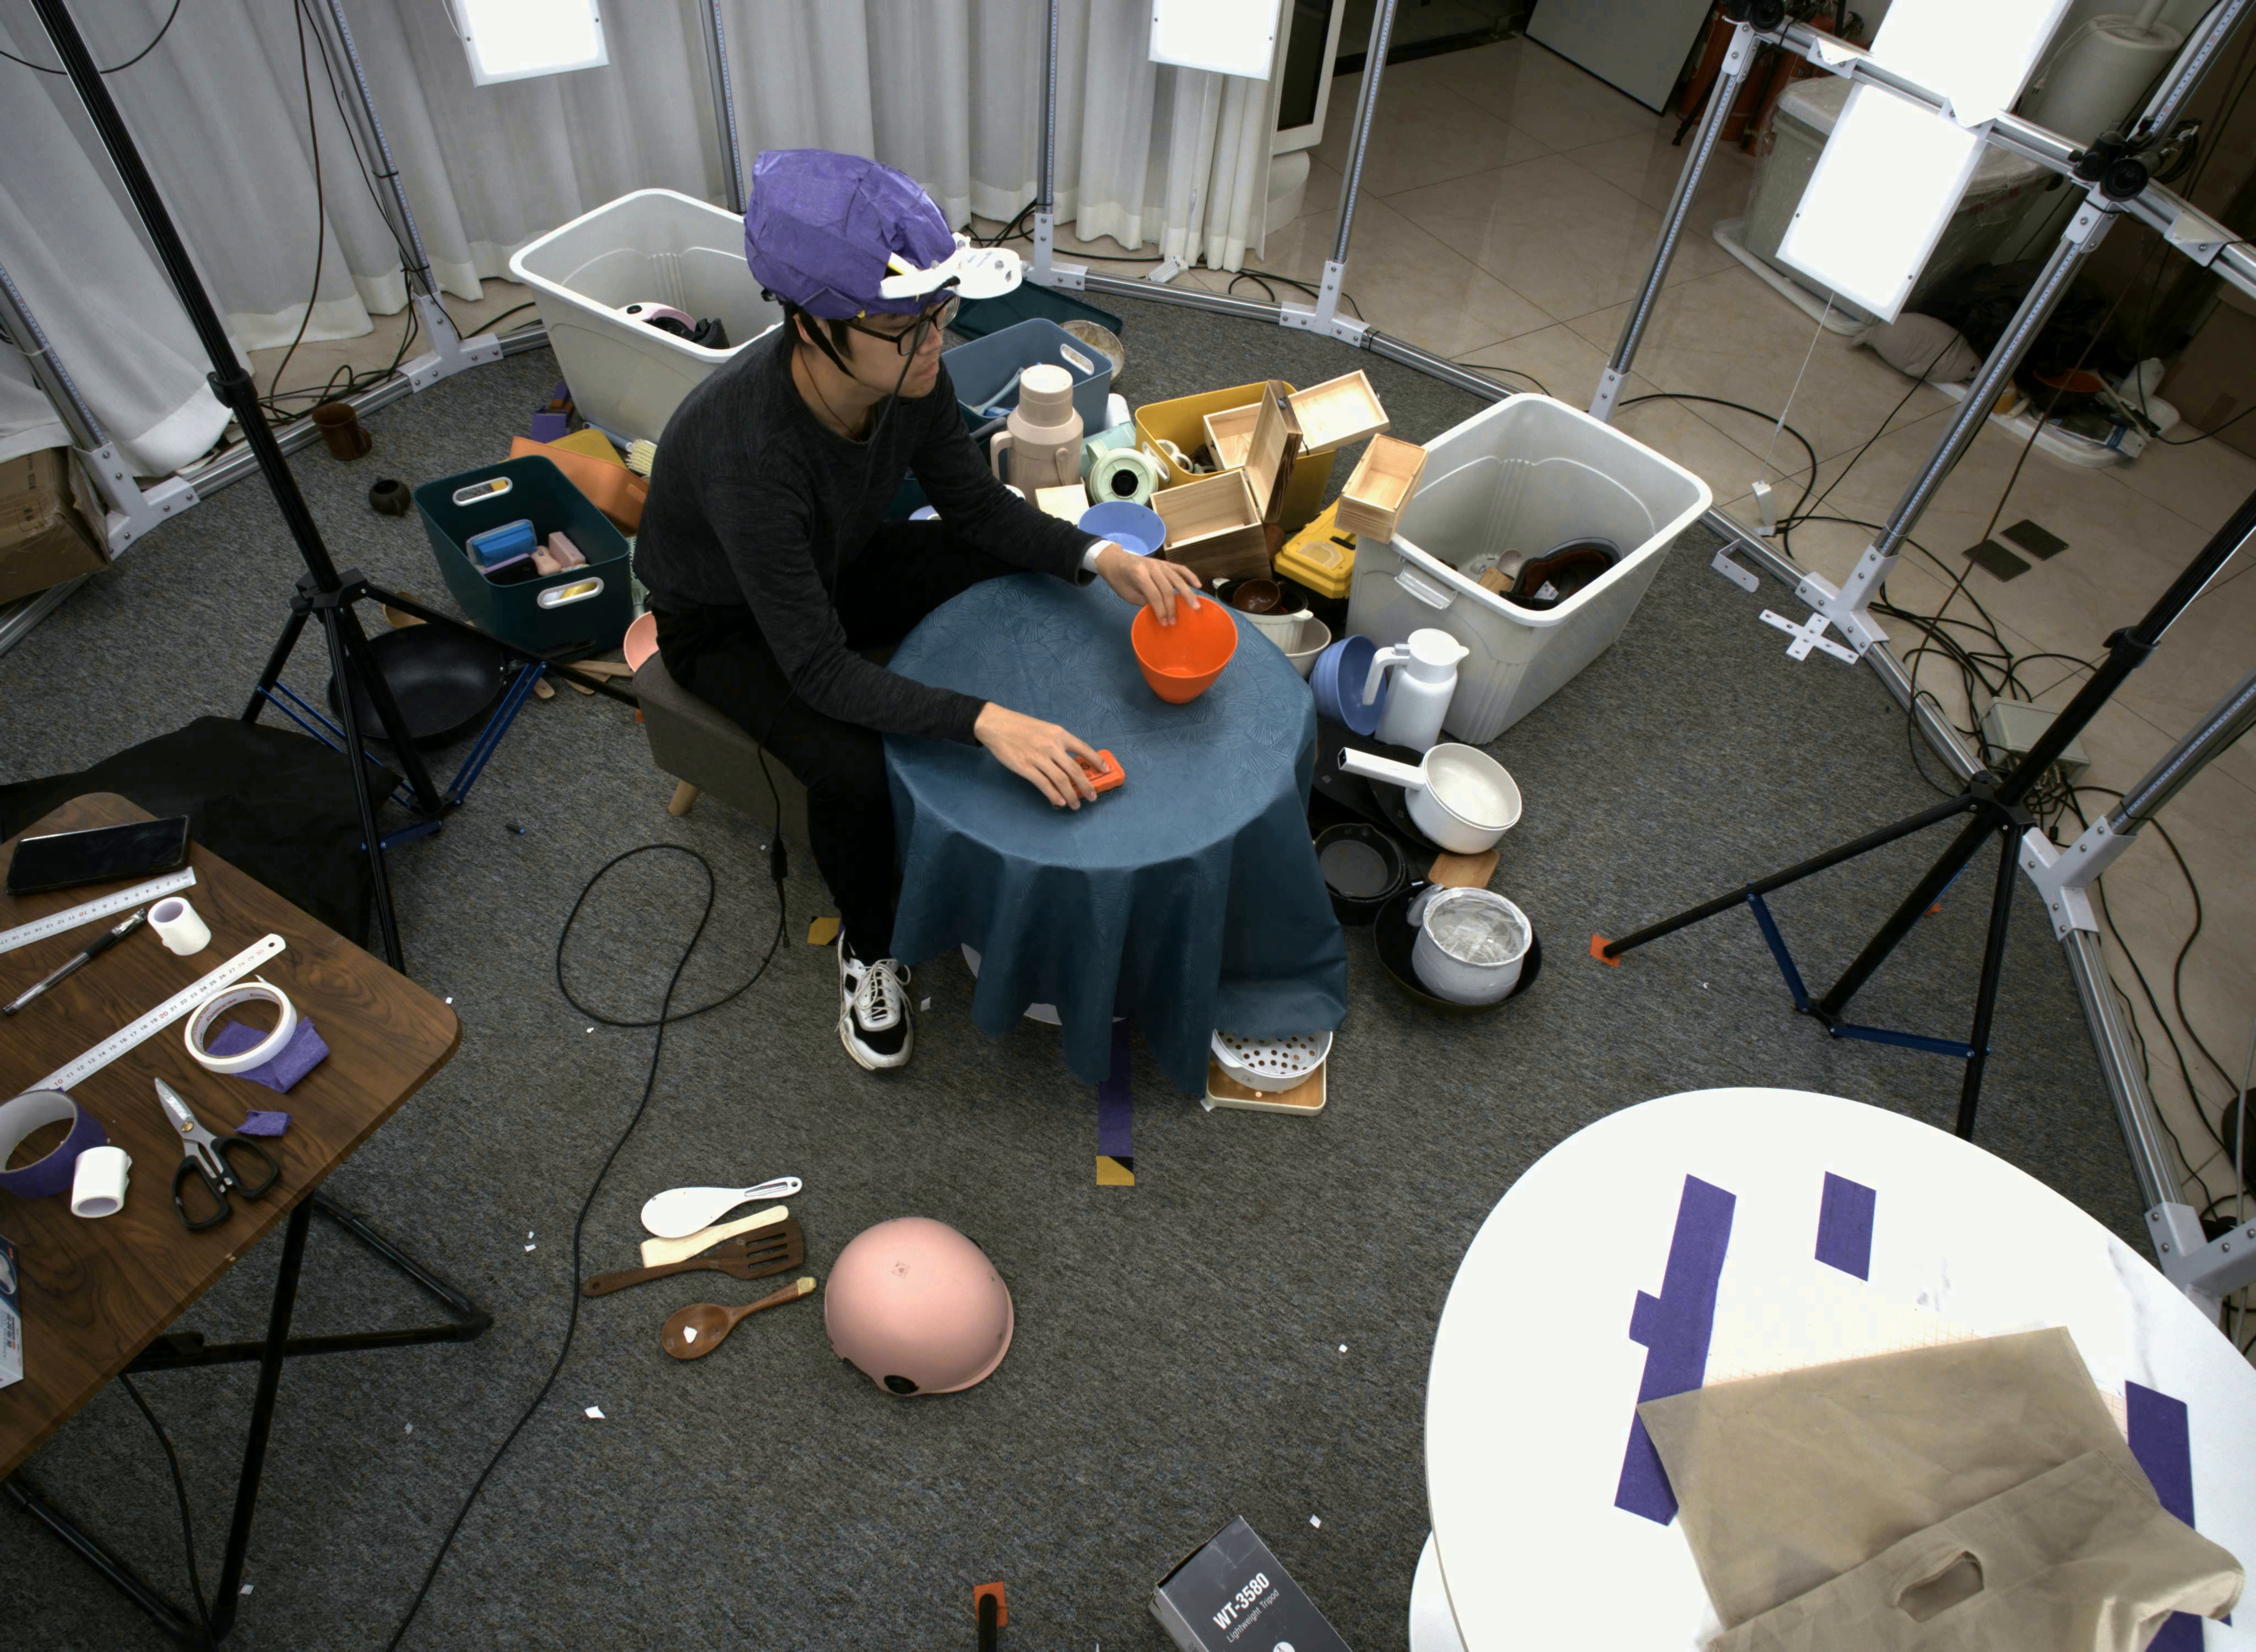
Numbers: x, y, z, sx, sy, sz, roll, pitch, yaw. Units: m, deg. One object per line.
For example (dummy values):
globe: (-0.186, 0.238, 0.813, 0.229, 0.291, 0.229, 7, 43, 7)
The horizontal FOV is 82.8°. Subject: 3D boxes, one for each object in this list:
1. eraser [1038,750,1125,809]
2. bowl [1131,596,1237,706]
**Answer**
eraser: (-0.062, -0.062, 1.699, 0.108, 0.022, 0.060, -19, 55, -23)
bowl: (0.075, -0.238, 1.818, 0.148, 0.102, 0.152, 2, 48, -3)
